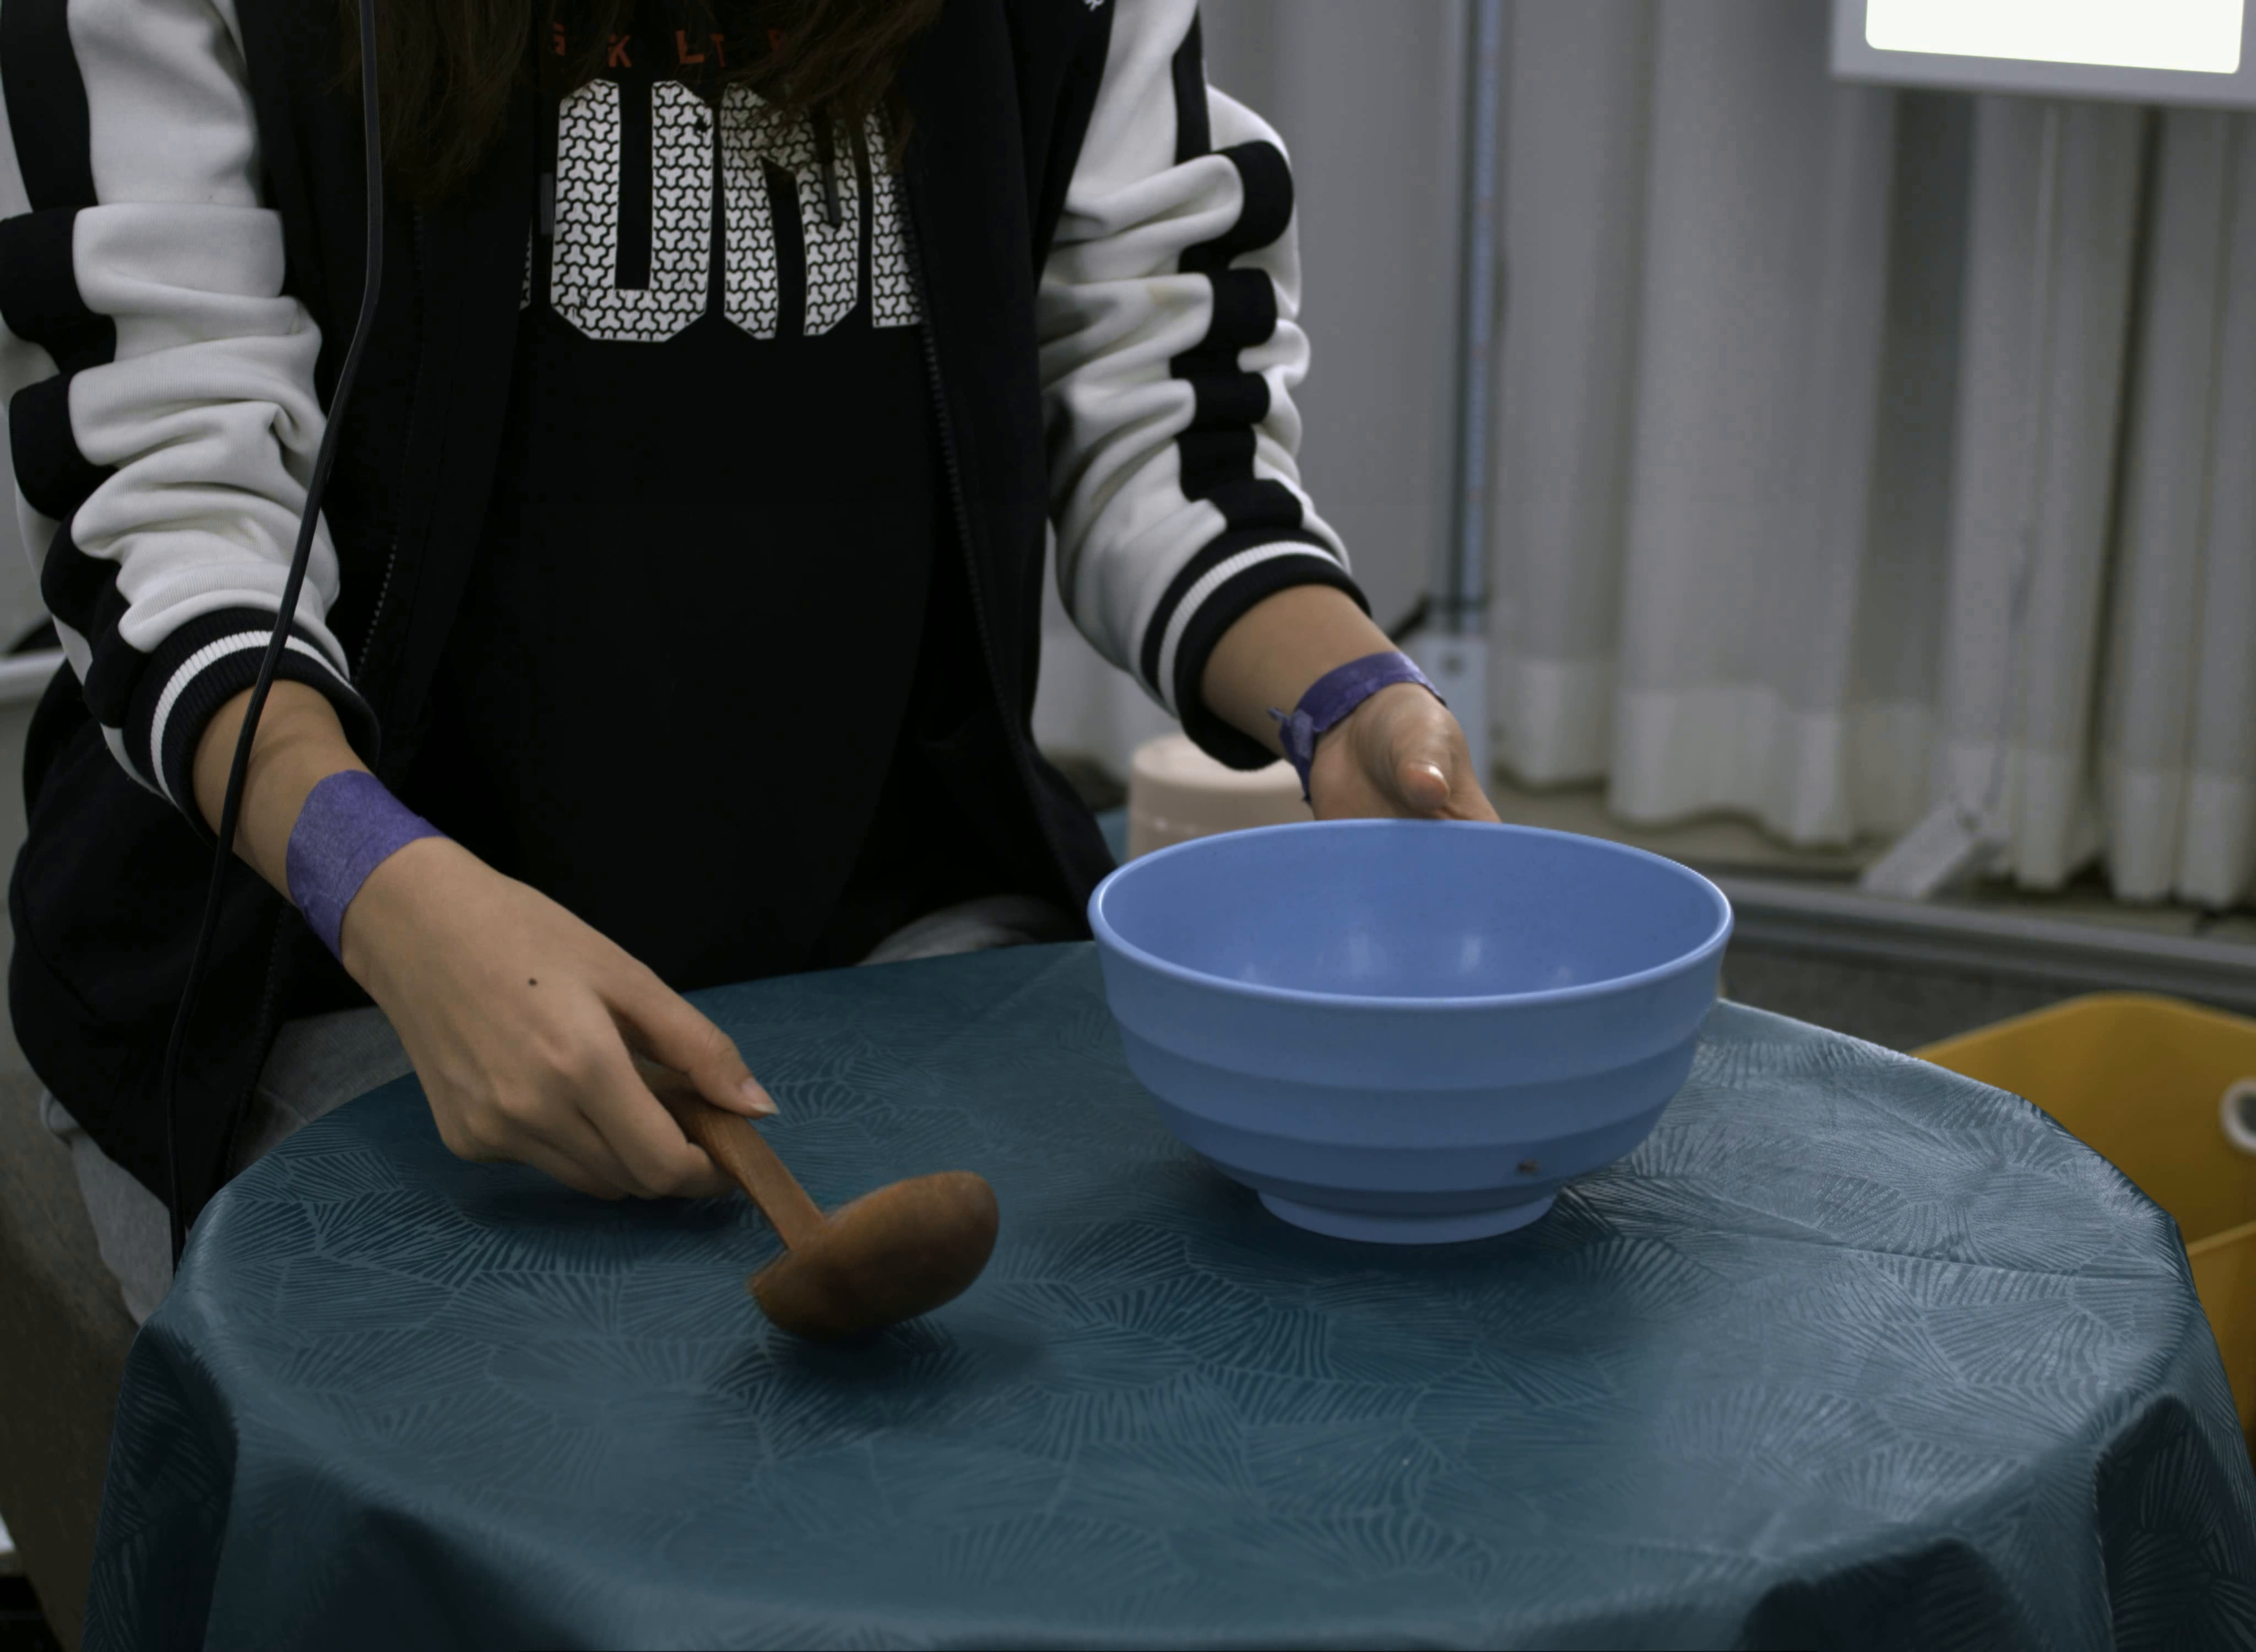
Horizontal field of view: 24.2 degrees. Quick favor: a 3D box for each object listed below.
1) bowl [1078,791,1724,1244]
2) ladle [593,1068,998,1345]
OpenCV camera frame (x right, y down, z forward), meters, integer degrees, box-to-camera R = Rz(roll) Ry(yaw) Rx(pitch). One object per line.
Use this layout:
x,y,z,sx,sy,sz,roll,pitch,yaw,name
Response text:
0.085,0.066,1.615,0.196,0.096,0.195,-2,21,1,bowl
-0.111,0.095,1.558,0.076,0.066,0.257,-14,21,-21,ladle
